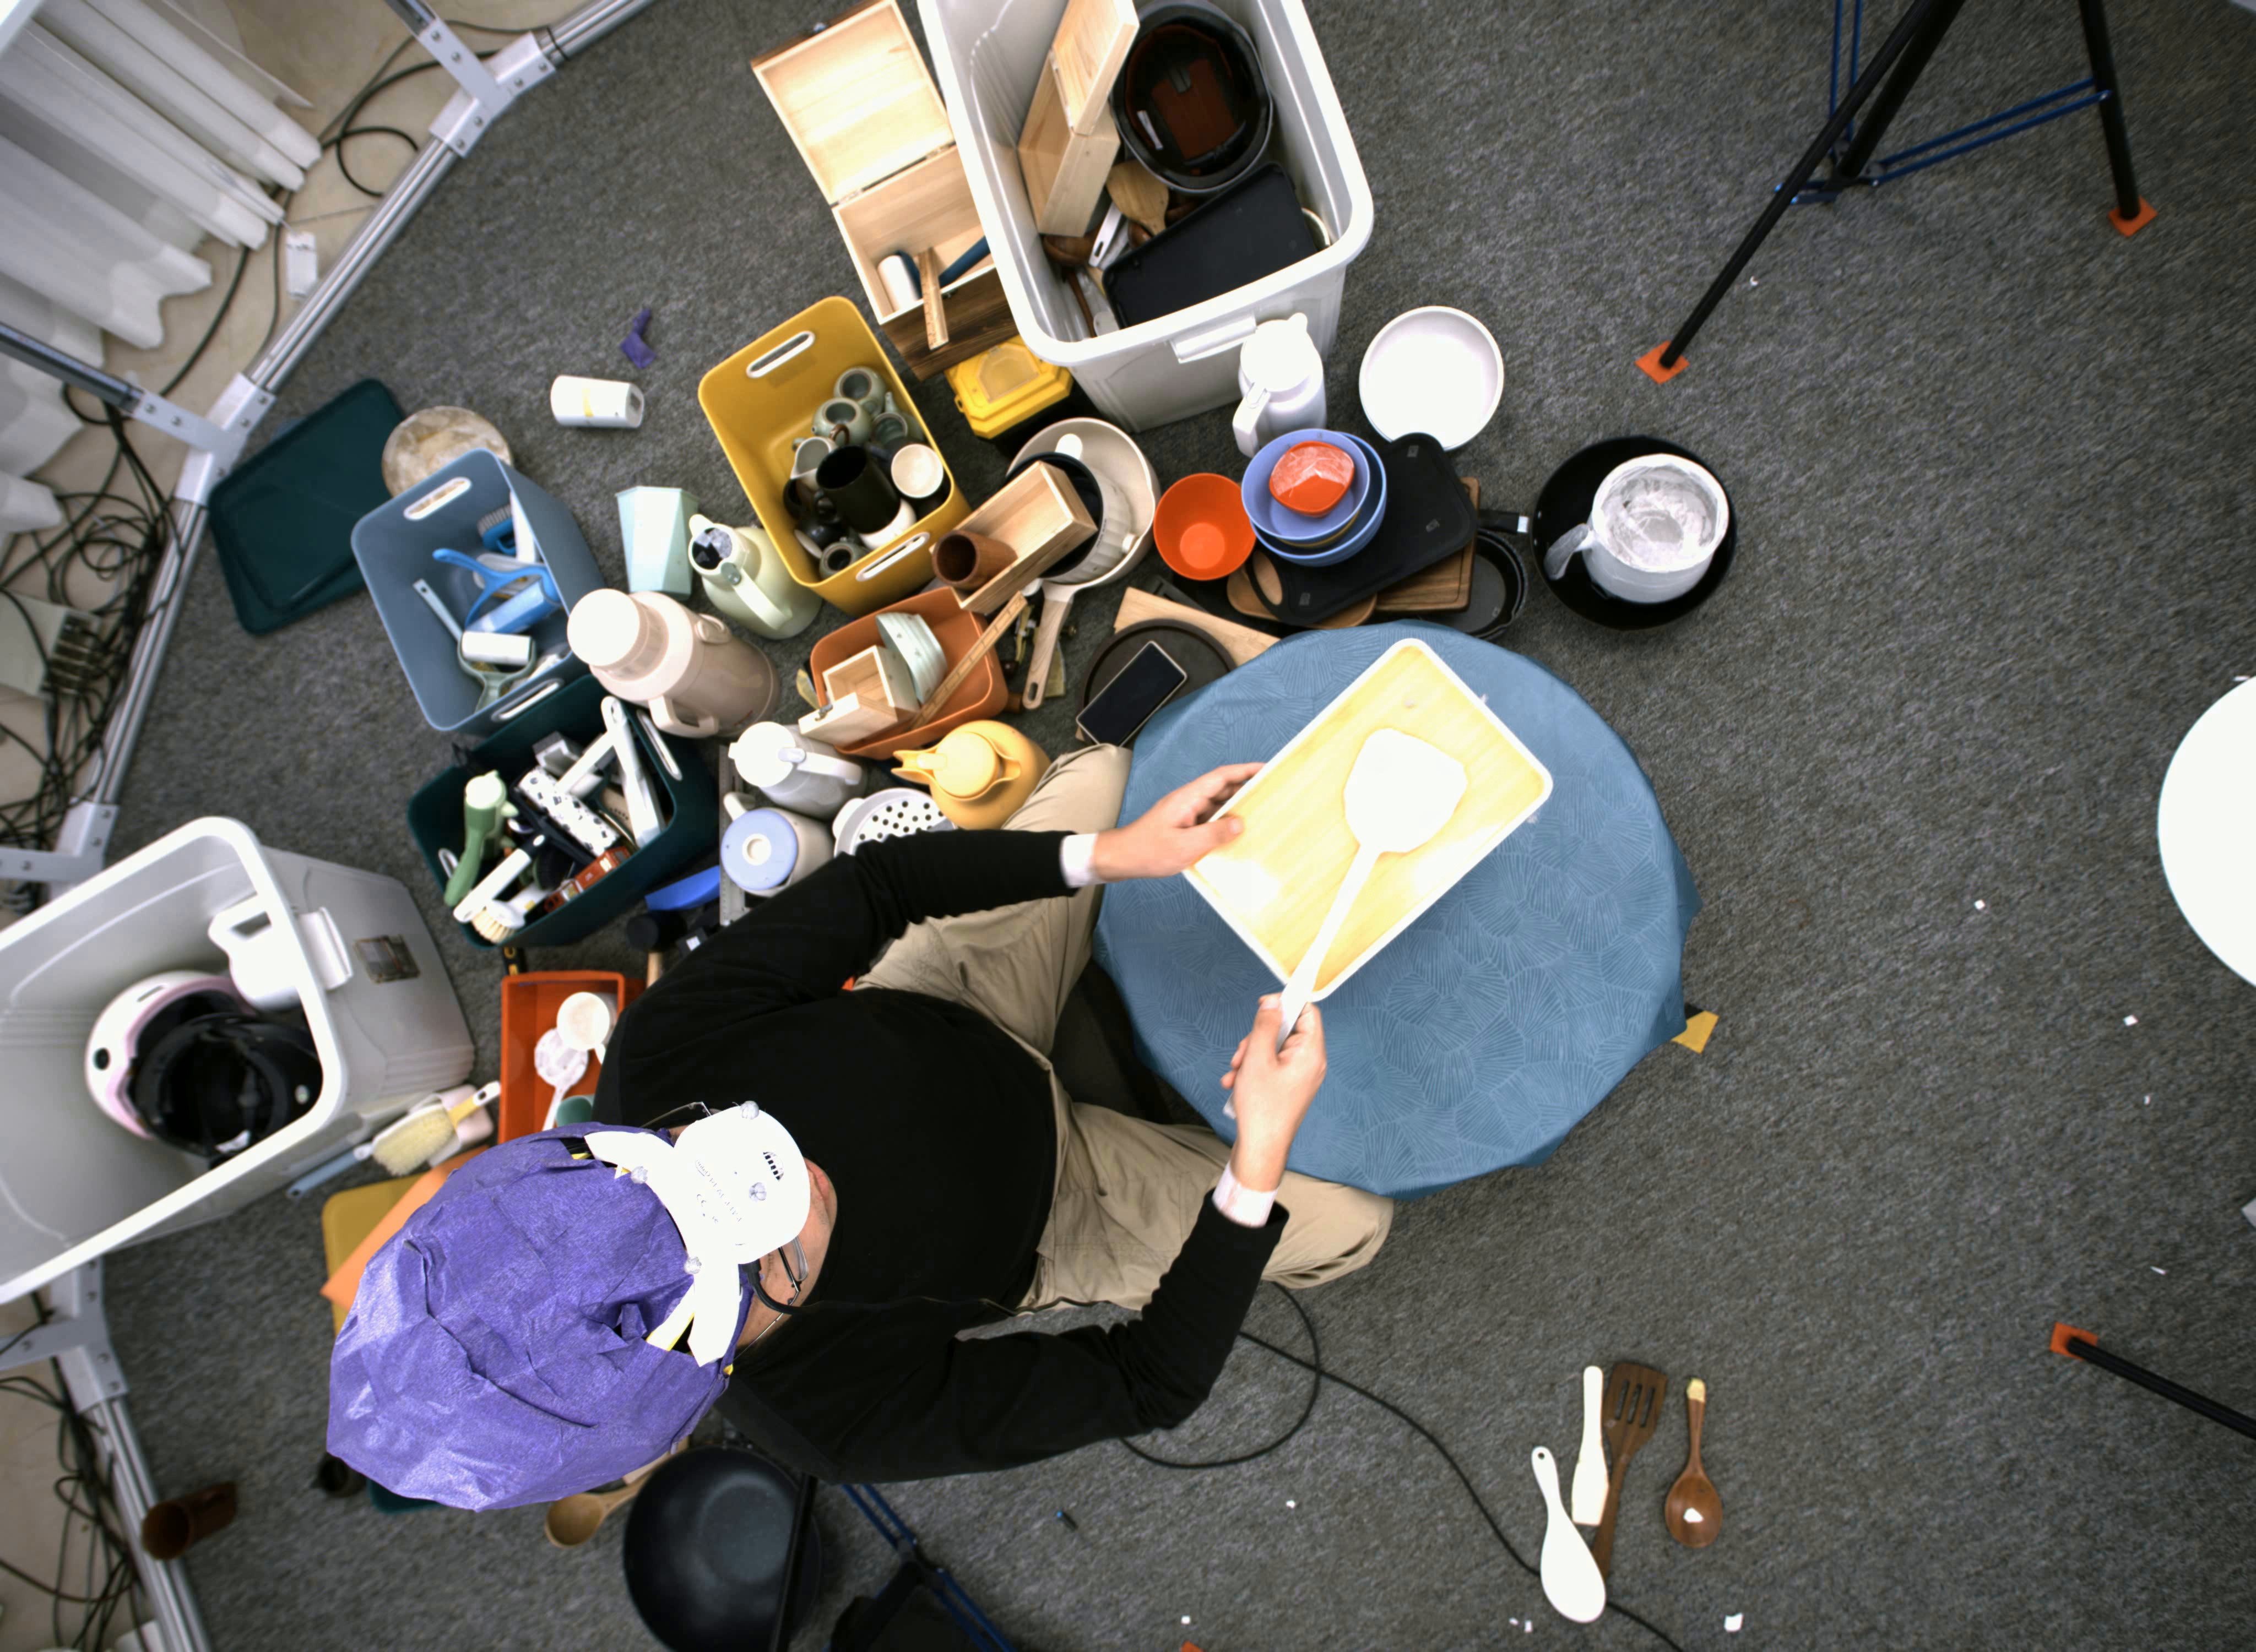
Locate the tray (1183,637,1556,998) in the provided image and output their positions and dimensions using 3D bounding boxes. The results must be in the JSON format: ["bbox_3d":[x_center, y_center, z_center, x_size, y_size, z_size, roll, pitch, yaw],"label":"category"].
[{"bbox_3d":[0.214,-0.006,1.248,0.304,0.027,0.191,-44,86,15],"label":"tray"}]

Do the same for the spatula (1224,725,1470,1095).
[{"bbox_3d":[0.181,0.078,1.206,0.098,0.045,0.360,29,78,6],"label":"spatula"}]
